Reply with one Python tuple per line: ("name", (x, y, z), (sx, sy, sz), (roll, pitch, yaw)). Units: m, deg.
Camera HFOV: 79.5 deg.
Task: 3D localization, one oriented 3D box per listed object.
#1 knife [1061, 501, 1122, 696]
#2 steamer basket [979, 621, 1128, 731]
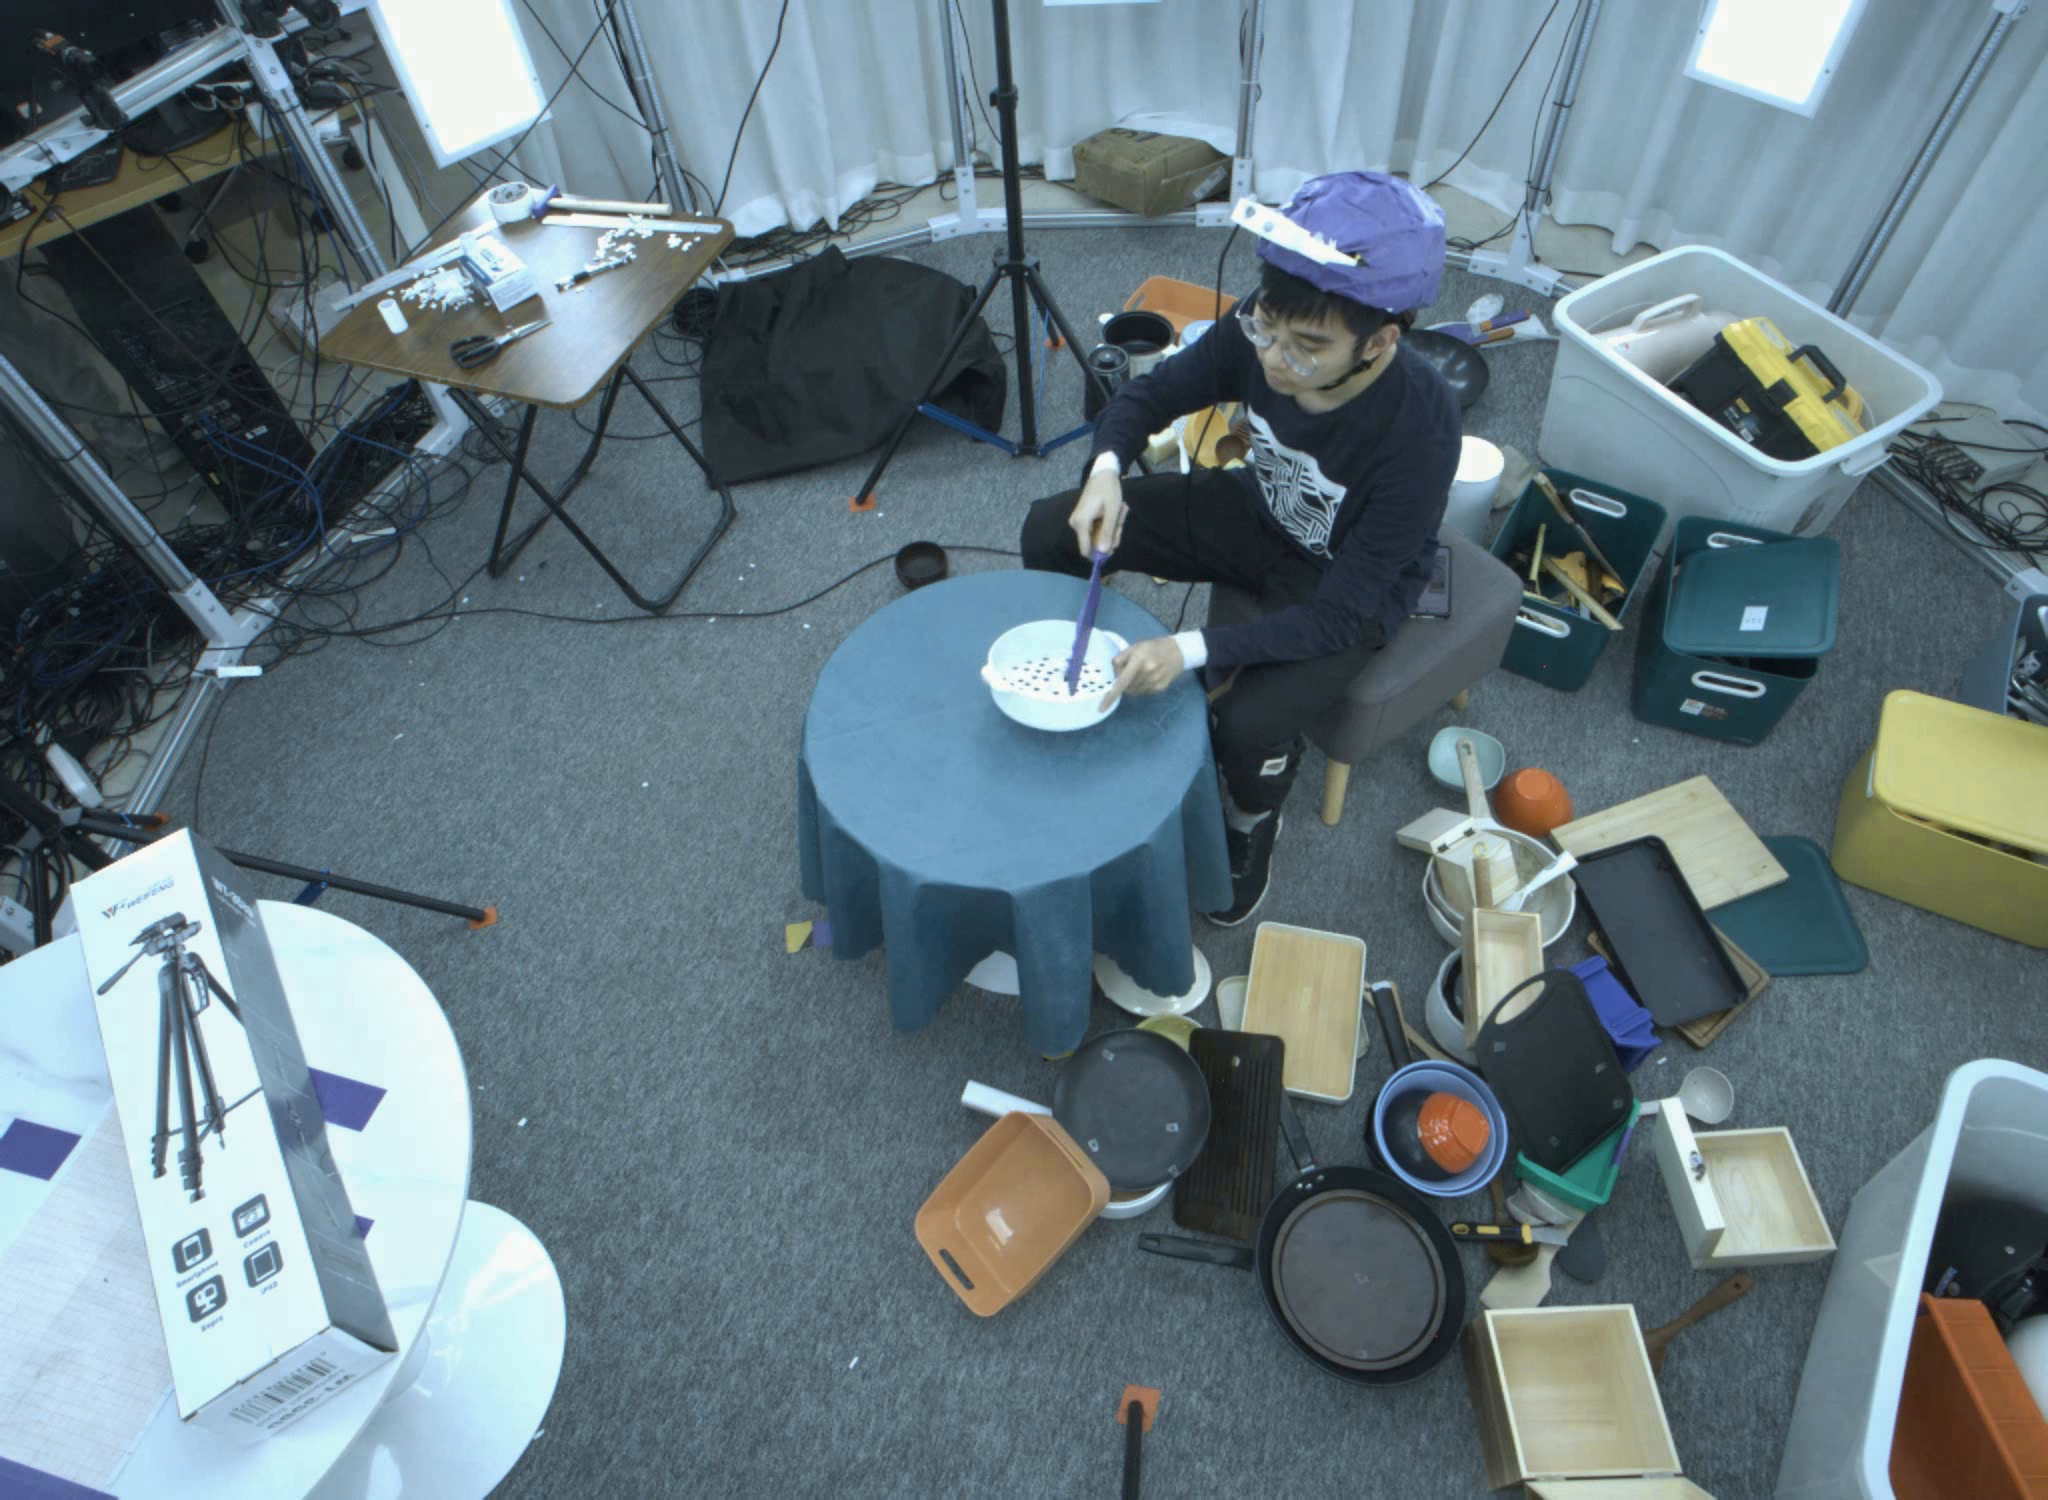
("knife", (0.095, -0.217, 1.798), (0.032, 0.105, 0.314), (12, 65, 10))
("steamer basket", (0.043, -0.107, 1.802), (0.234, 0.070, 0.197), (-16, 44, -25))
